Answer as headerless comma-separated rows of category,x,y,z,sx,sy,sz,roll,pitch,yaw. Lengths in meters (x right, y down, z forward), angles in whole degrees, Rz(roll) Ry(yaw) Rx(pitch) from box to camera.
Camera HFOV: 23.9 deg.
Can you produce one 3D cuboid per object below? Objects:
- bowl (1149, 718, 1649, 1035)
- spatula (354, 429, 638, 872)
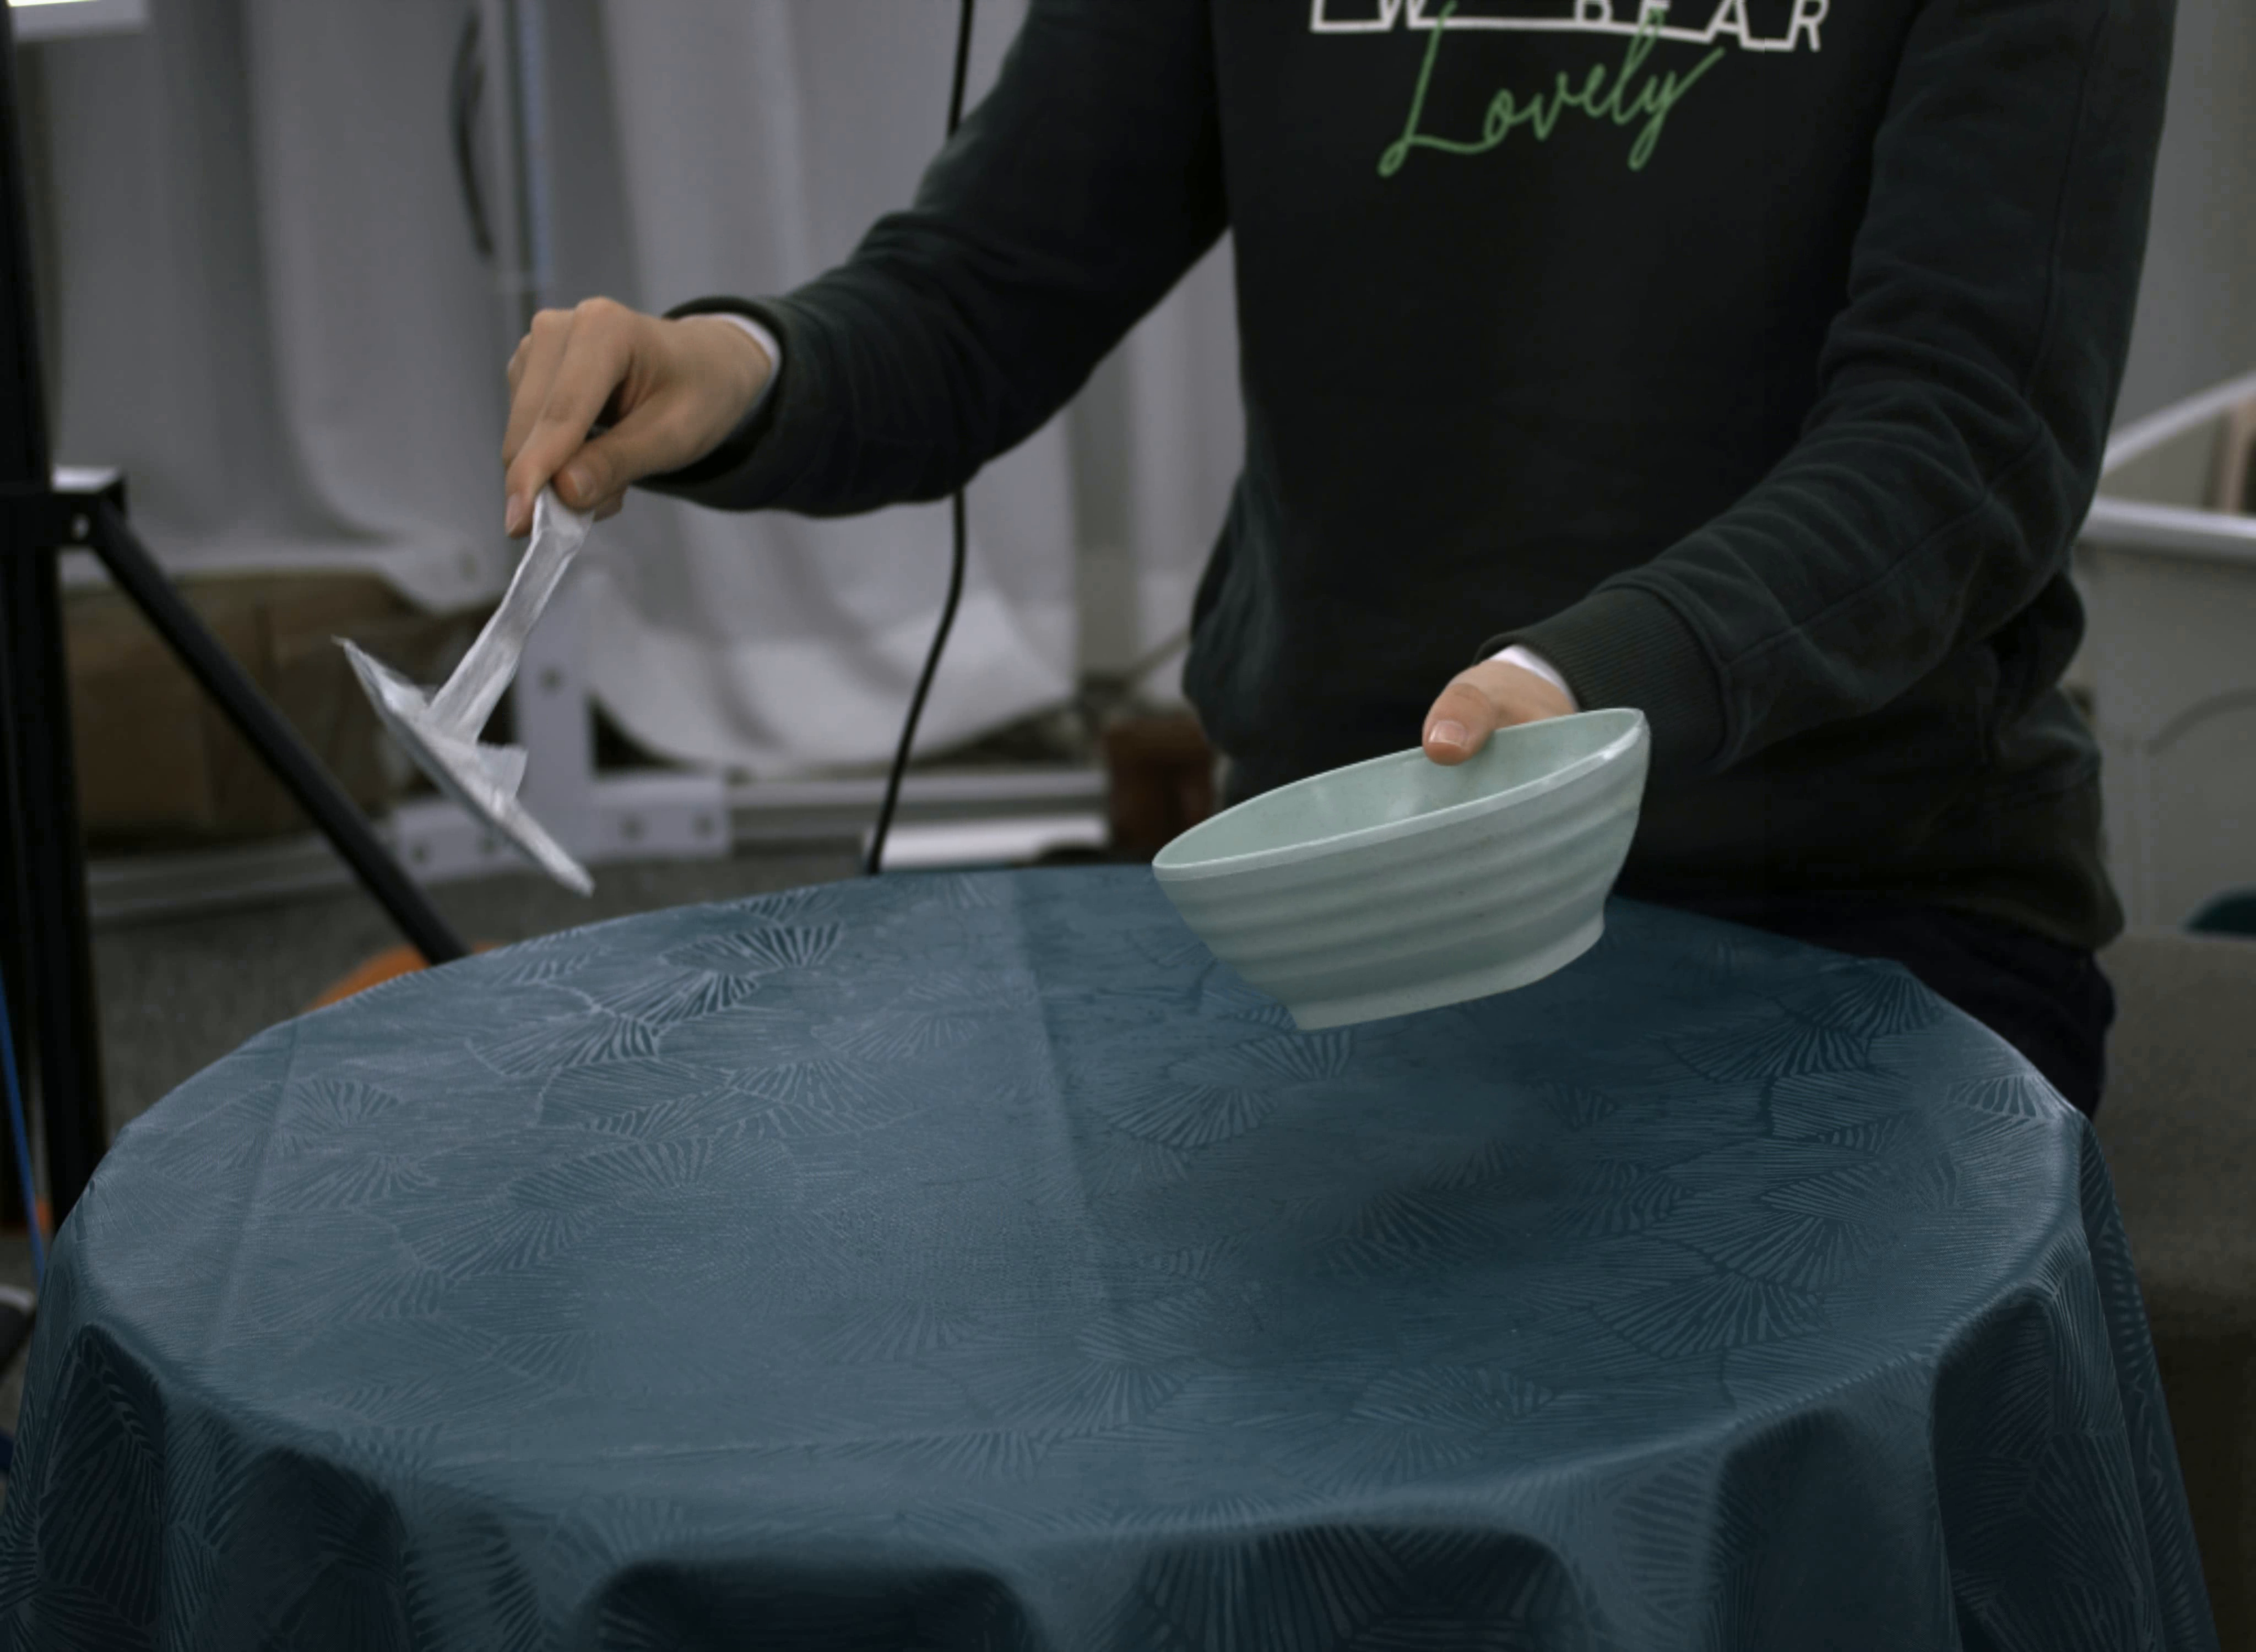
bowl,0.082,0.018,1.495,0.151,0.058,0.152,-14,9,1
spatula,-0.180,-0.074,1.662,0.045,0.098,0.365,-41,14,19
